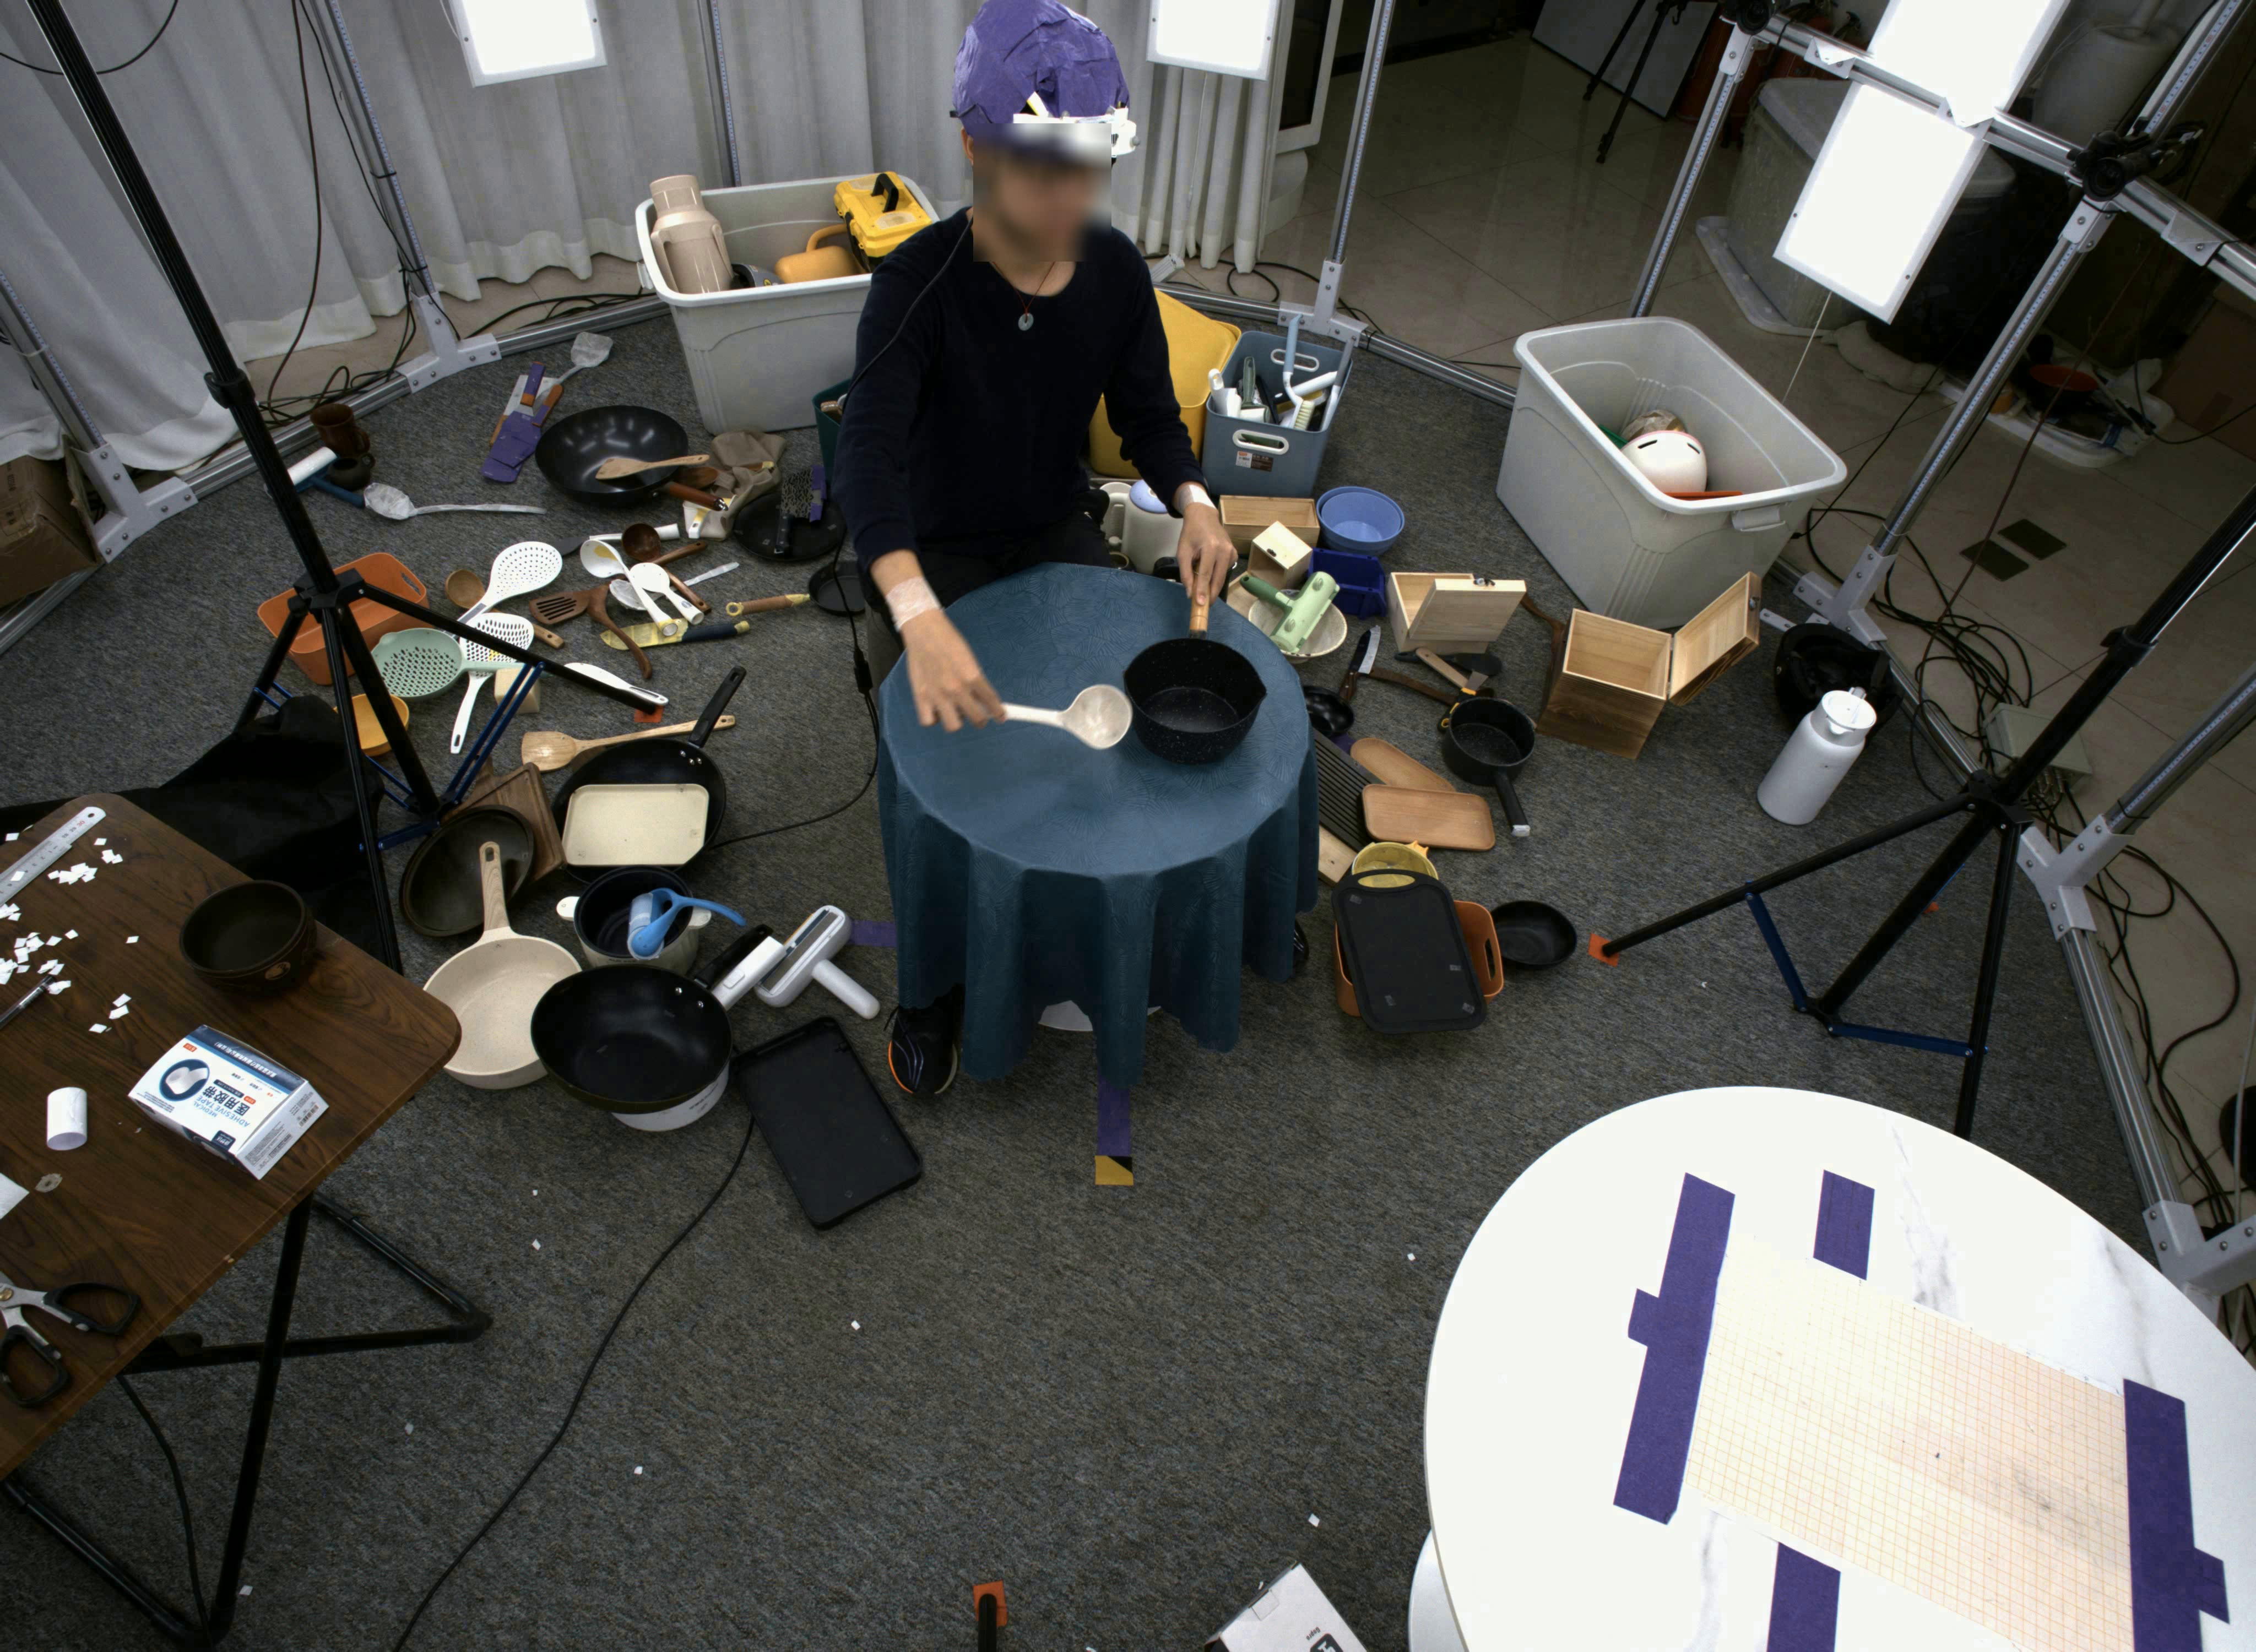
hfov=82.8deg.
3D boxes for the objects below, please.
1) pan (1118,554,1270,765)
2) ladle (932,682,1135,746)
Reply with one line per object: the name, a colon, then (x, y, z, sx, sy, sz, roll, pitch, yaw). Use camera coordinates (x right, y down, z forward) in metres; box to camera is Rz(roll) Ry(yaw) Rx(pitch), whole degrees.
pan: (0.093, -0.235, 1.809, 0.207, 0.105, 0.351, 4, 50, 1)
ladle: (-0.111, -0.152, 1.593, 0.273, 0.069, 0.091, 5, 65, -43)
